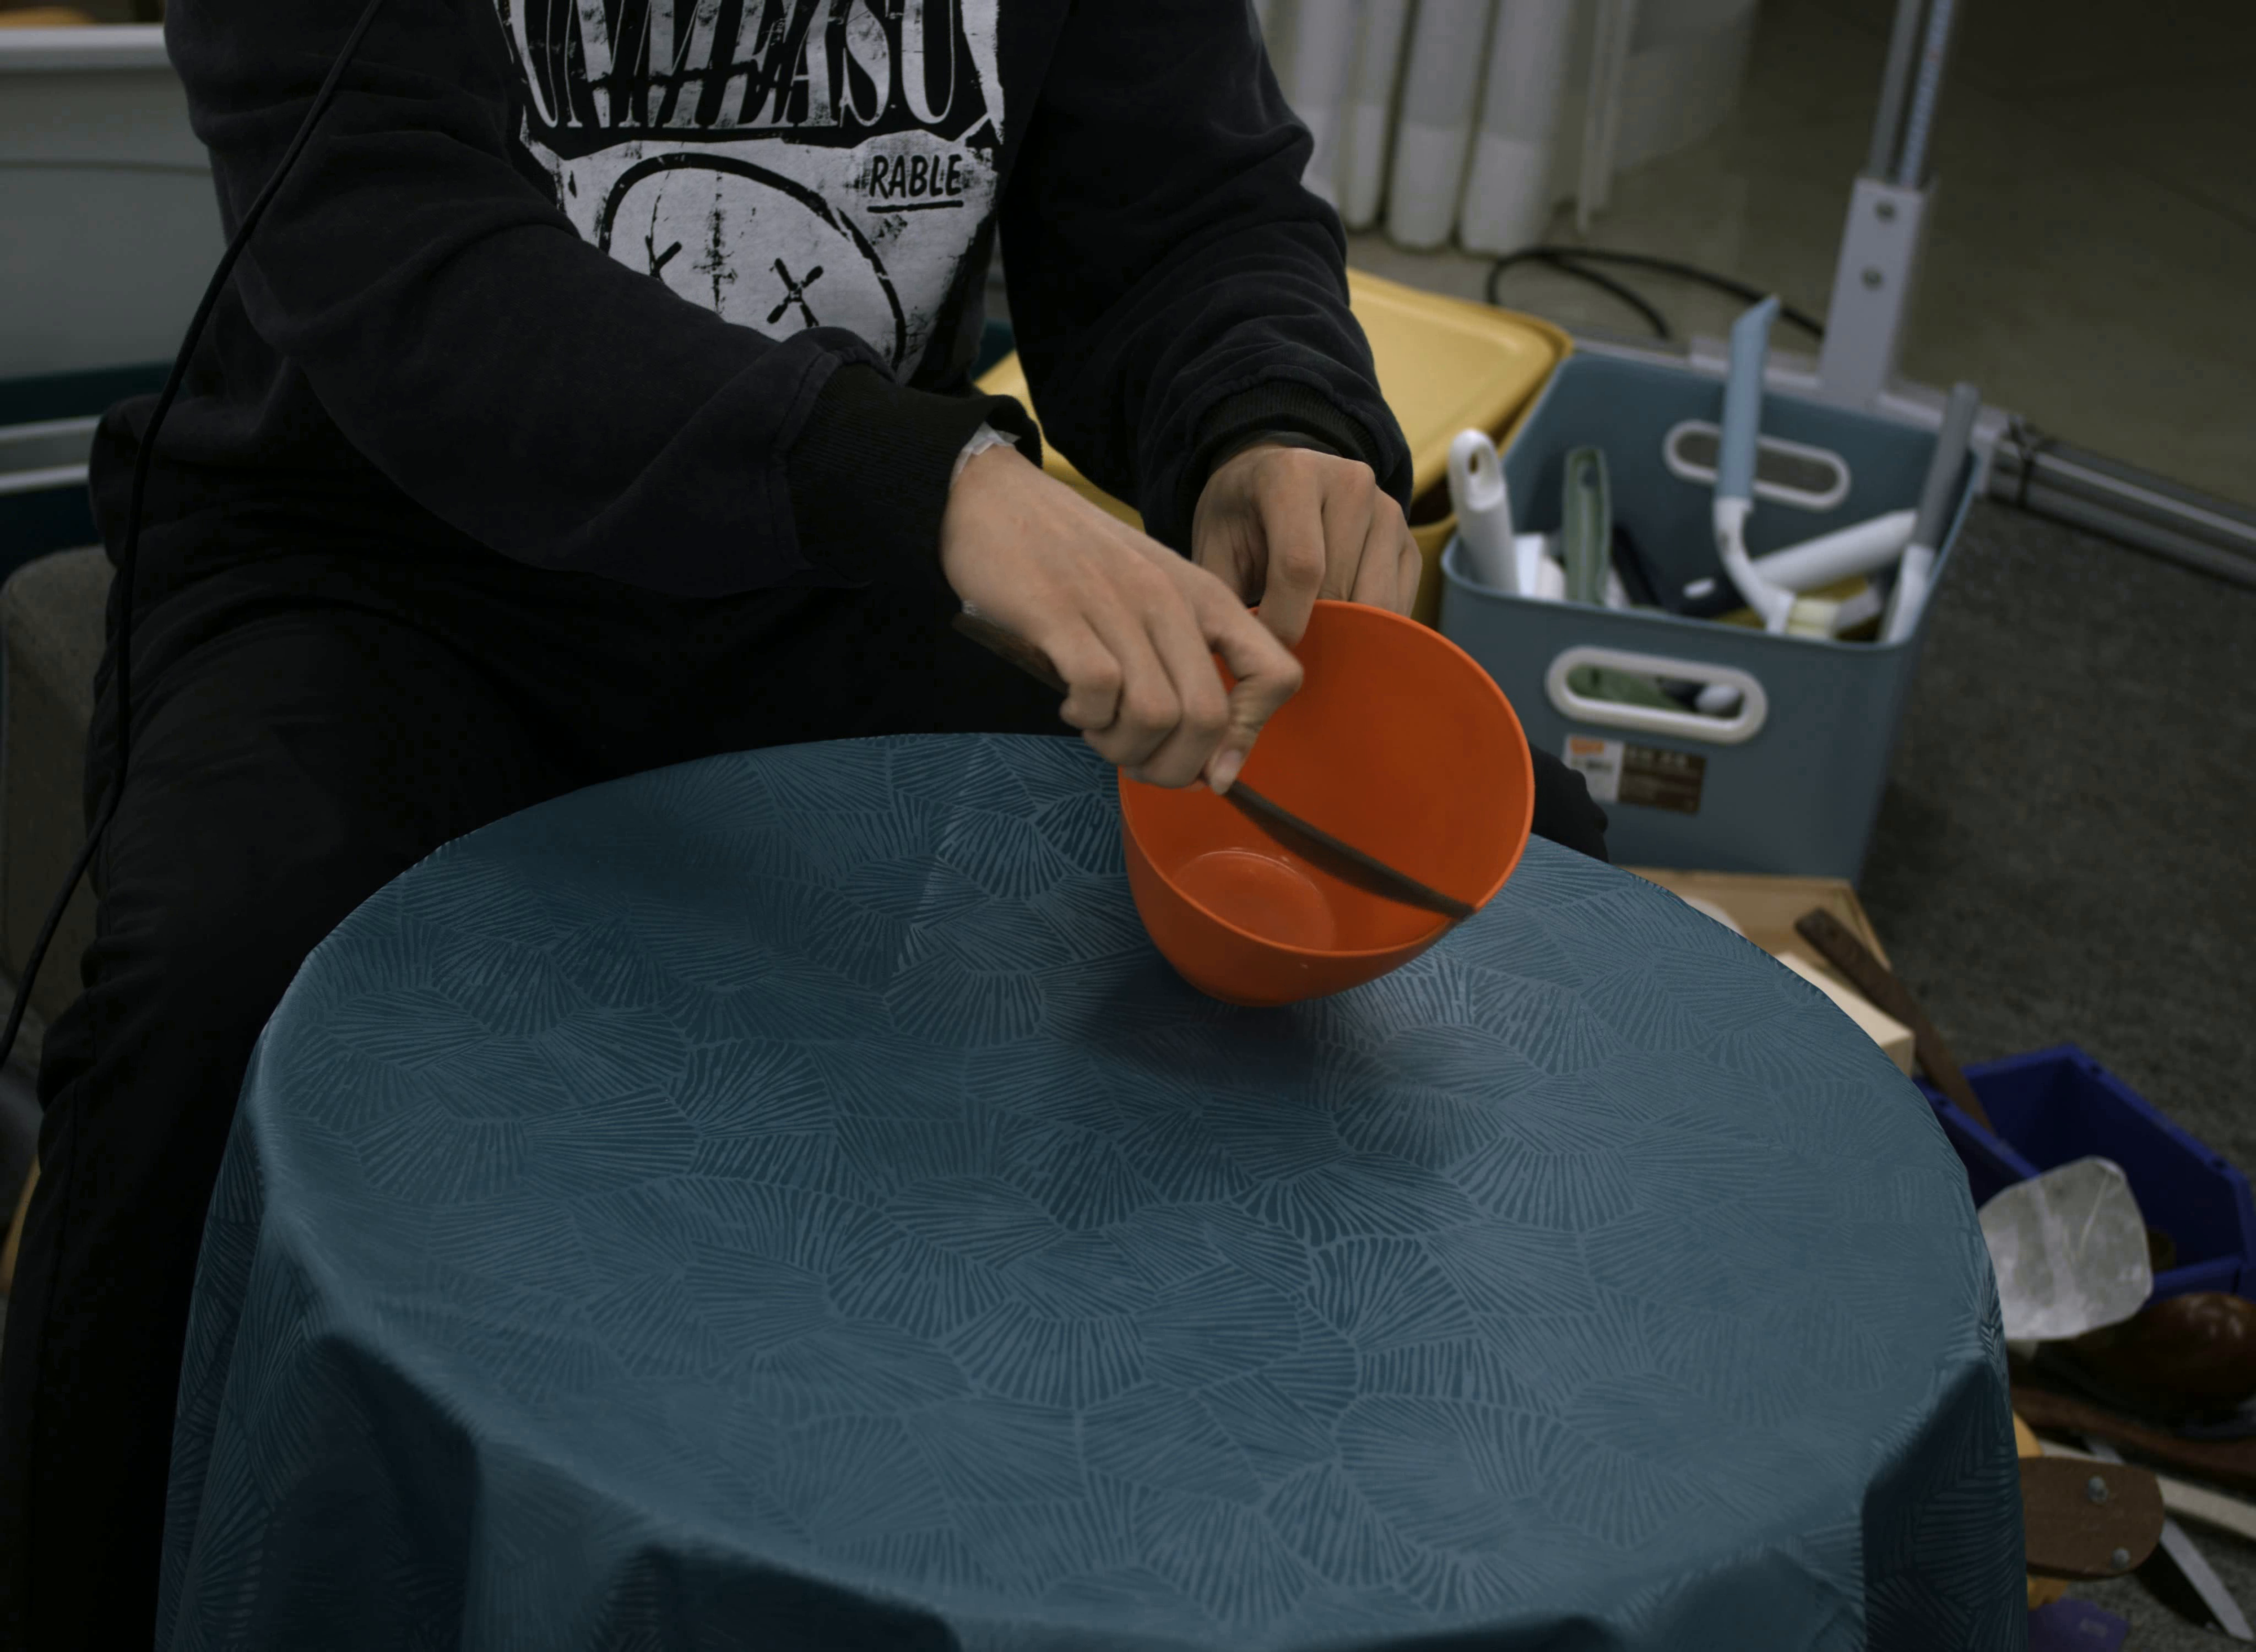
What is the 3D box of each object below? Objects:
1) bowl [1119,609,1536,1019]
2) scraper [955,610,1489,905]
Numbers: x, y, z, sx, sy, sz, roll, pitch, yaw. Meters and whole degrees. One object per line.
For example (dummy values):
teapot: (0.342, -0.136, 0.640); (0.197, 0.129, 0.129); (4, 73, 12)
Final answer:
bowl: (0.062, 0.009, 1.910); (0.147, 0.104, 0.149); (7, 51, -10)
scraper: (0.029, -0.021, 1.836); (0.210, 0.011, 0.076); (31, -9, -19)
